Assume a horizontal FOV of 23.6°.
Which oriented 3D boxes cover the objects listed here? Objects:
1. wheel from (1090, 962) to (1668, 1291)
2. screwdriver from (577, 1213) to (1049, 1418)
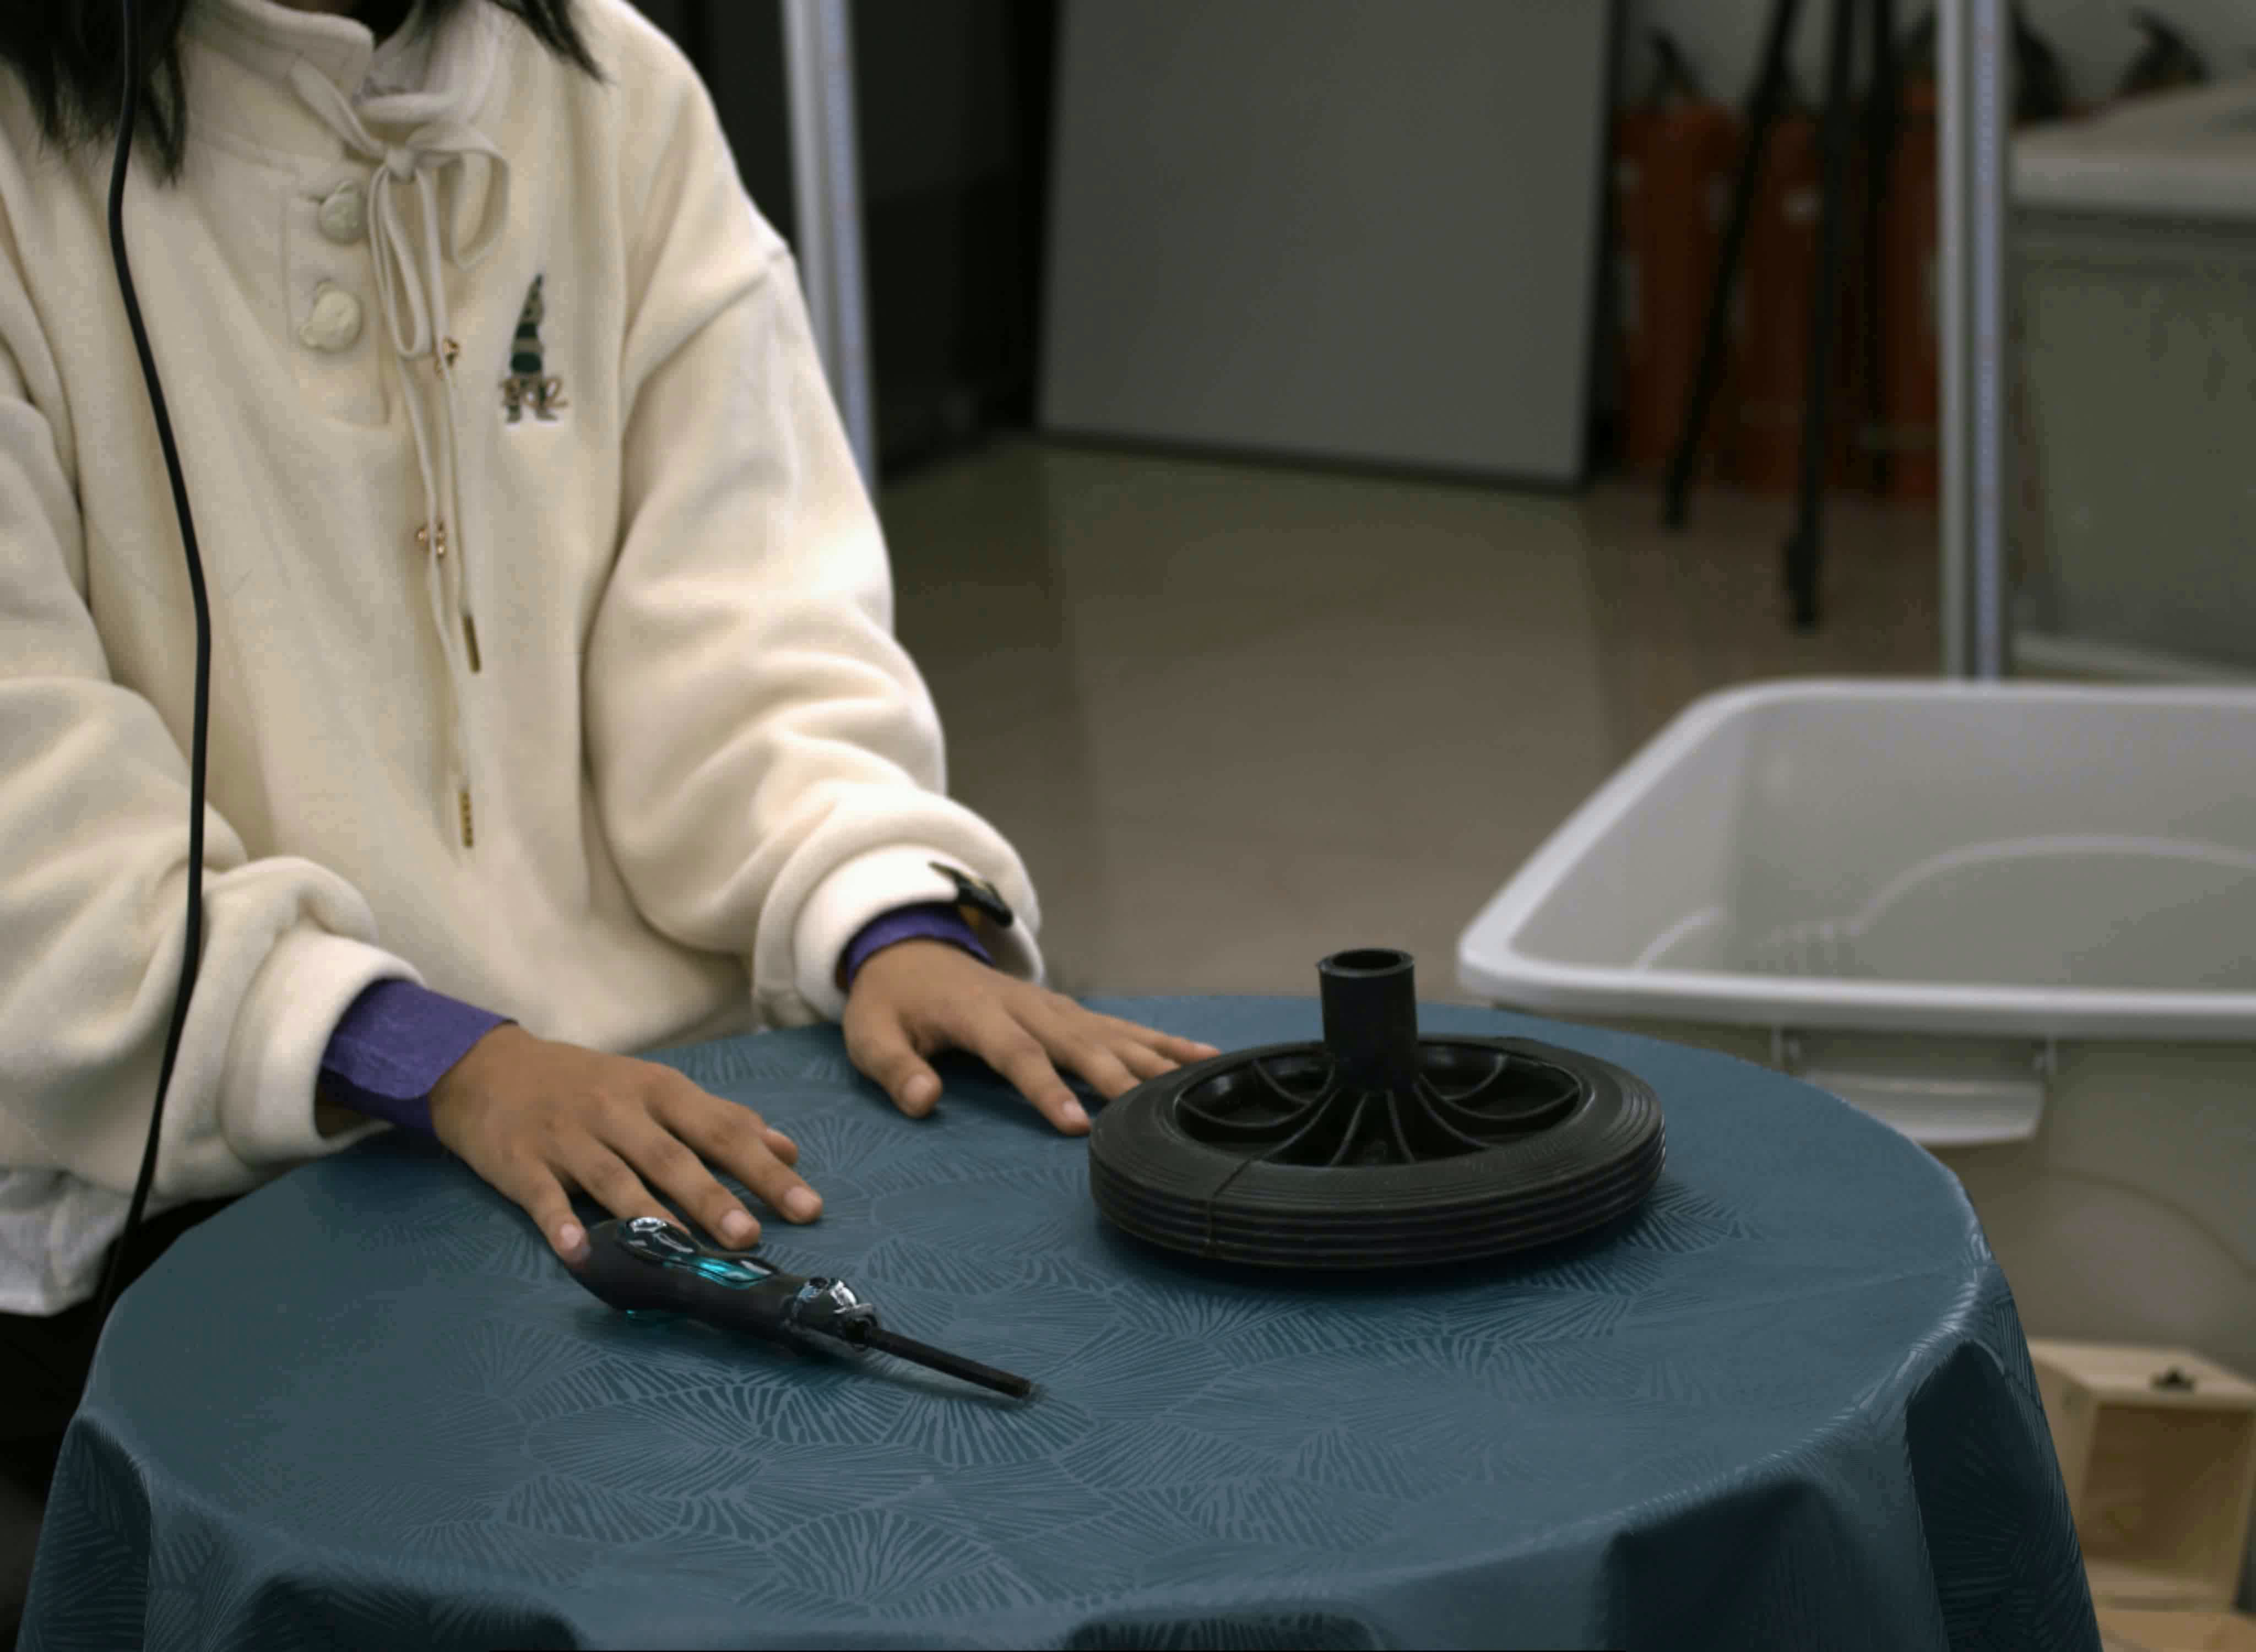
[{"bbox_3d":[0.080,0.087,1.729,0.184,0.080,0.191,-8,17,-16],"label":"wheel"},{"bbox_3d":[-0.095,0.152,1.630,0.191,0.034,0.033,15,22,40],"label":"screwdriver"}]
